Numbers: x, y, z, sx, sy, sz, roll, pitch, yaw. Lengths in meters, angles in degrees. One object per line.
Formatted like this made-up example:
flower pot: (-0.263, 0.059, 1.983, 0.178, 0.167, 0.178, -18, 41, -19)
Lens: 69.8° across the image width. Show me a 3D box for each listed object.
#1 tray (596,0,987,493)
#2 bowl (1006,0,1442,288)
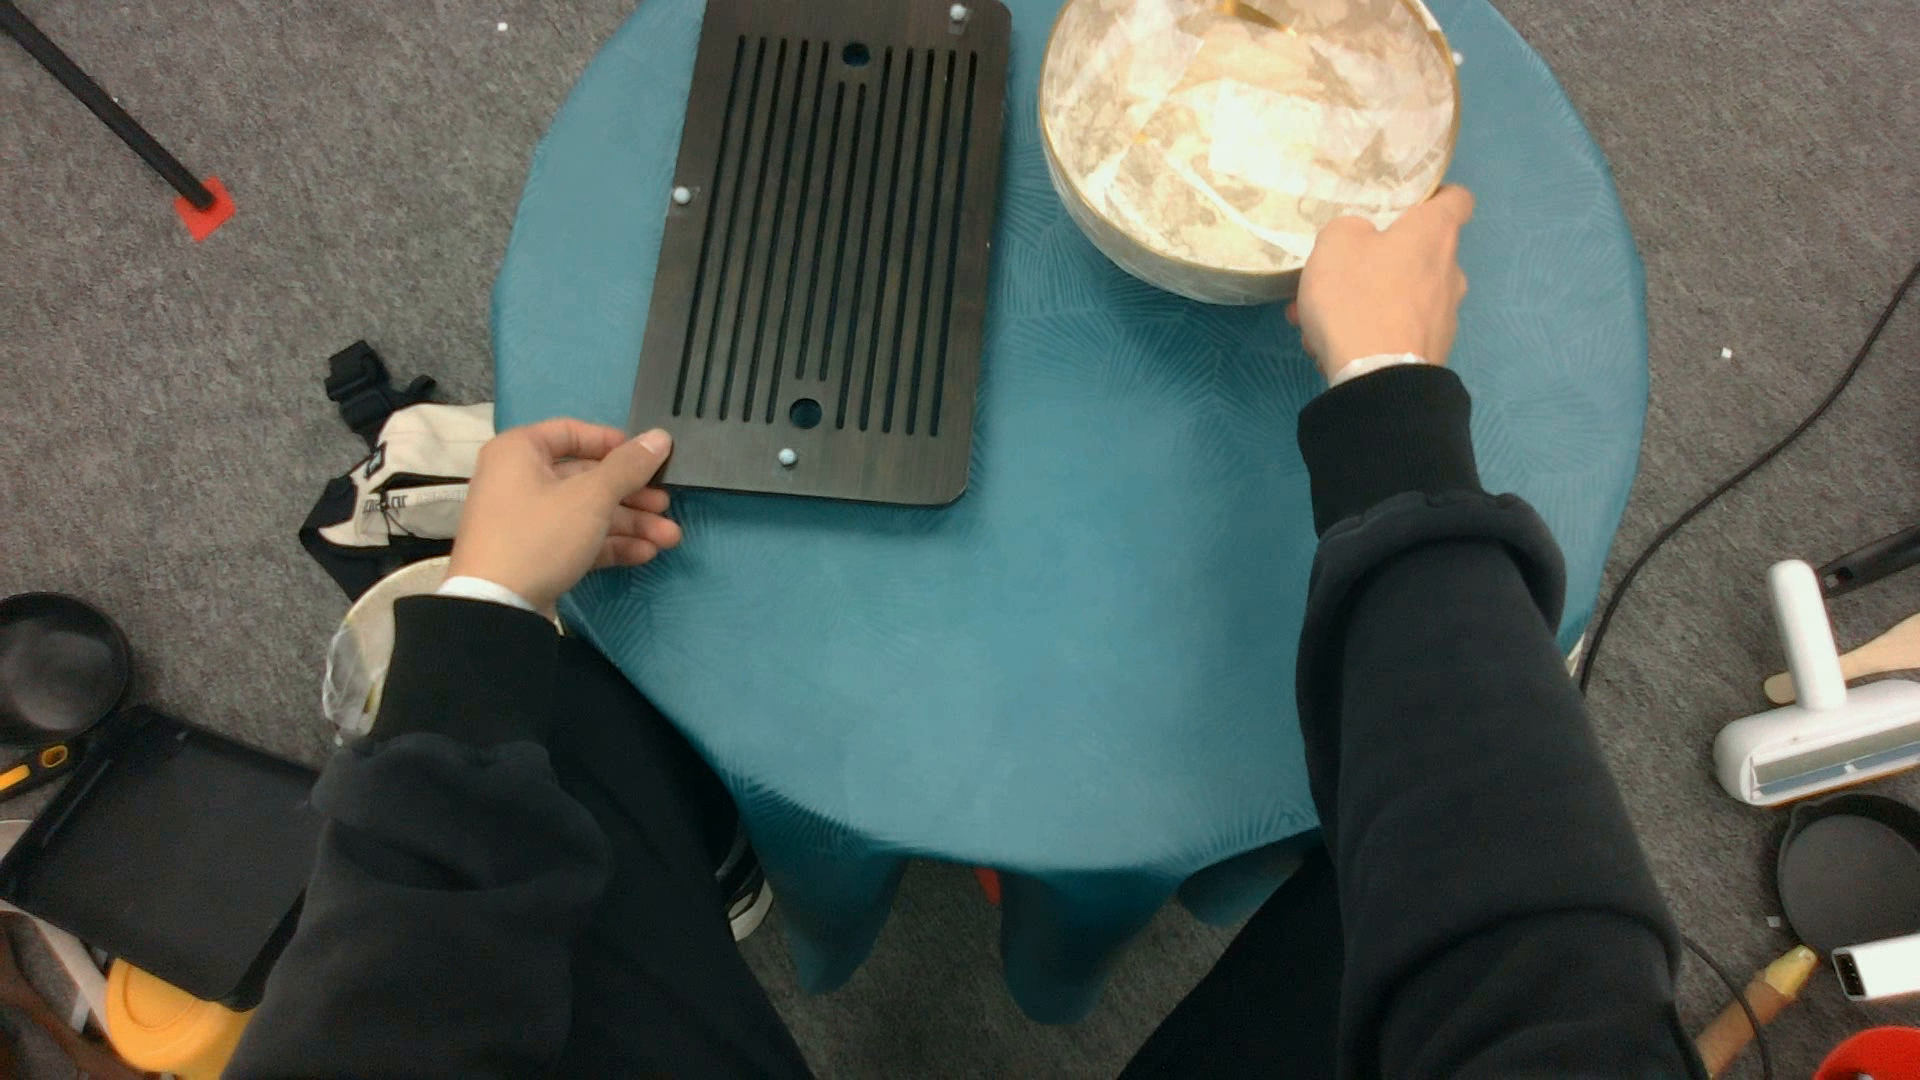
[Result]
tray: (-0.081, -0.170, 0.719, 0.170, 0.018, 0.307, 4, 70, 2)
bowl: (0.122, -0.205, 0.695, 0.215, 0.094, 0.215, 1, 70, -2)
